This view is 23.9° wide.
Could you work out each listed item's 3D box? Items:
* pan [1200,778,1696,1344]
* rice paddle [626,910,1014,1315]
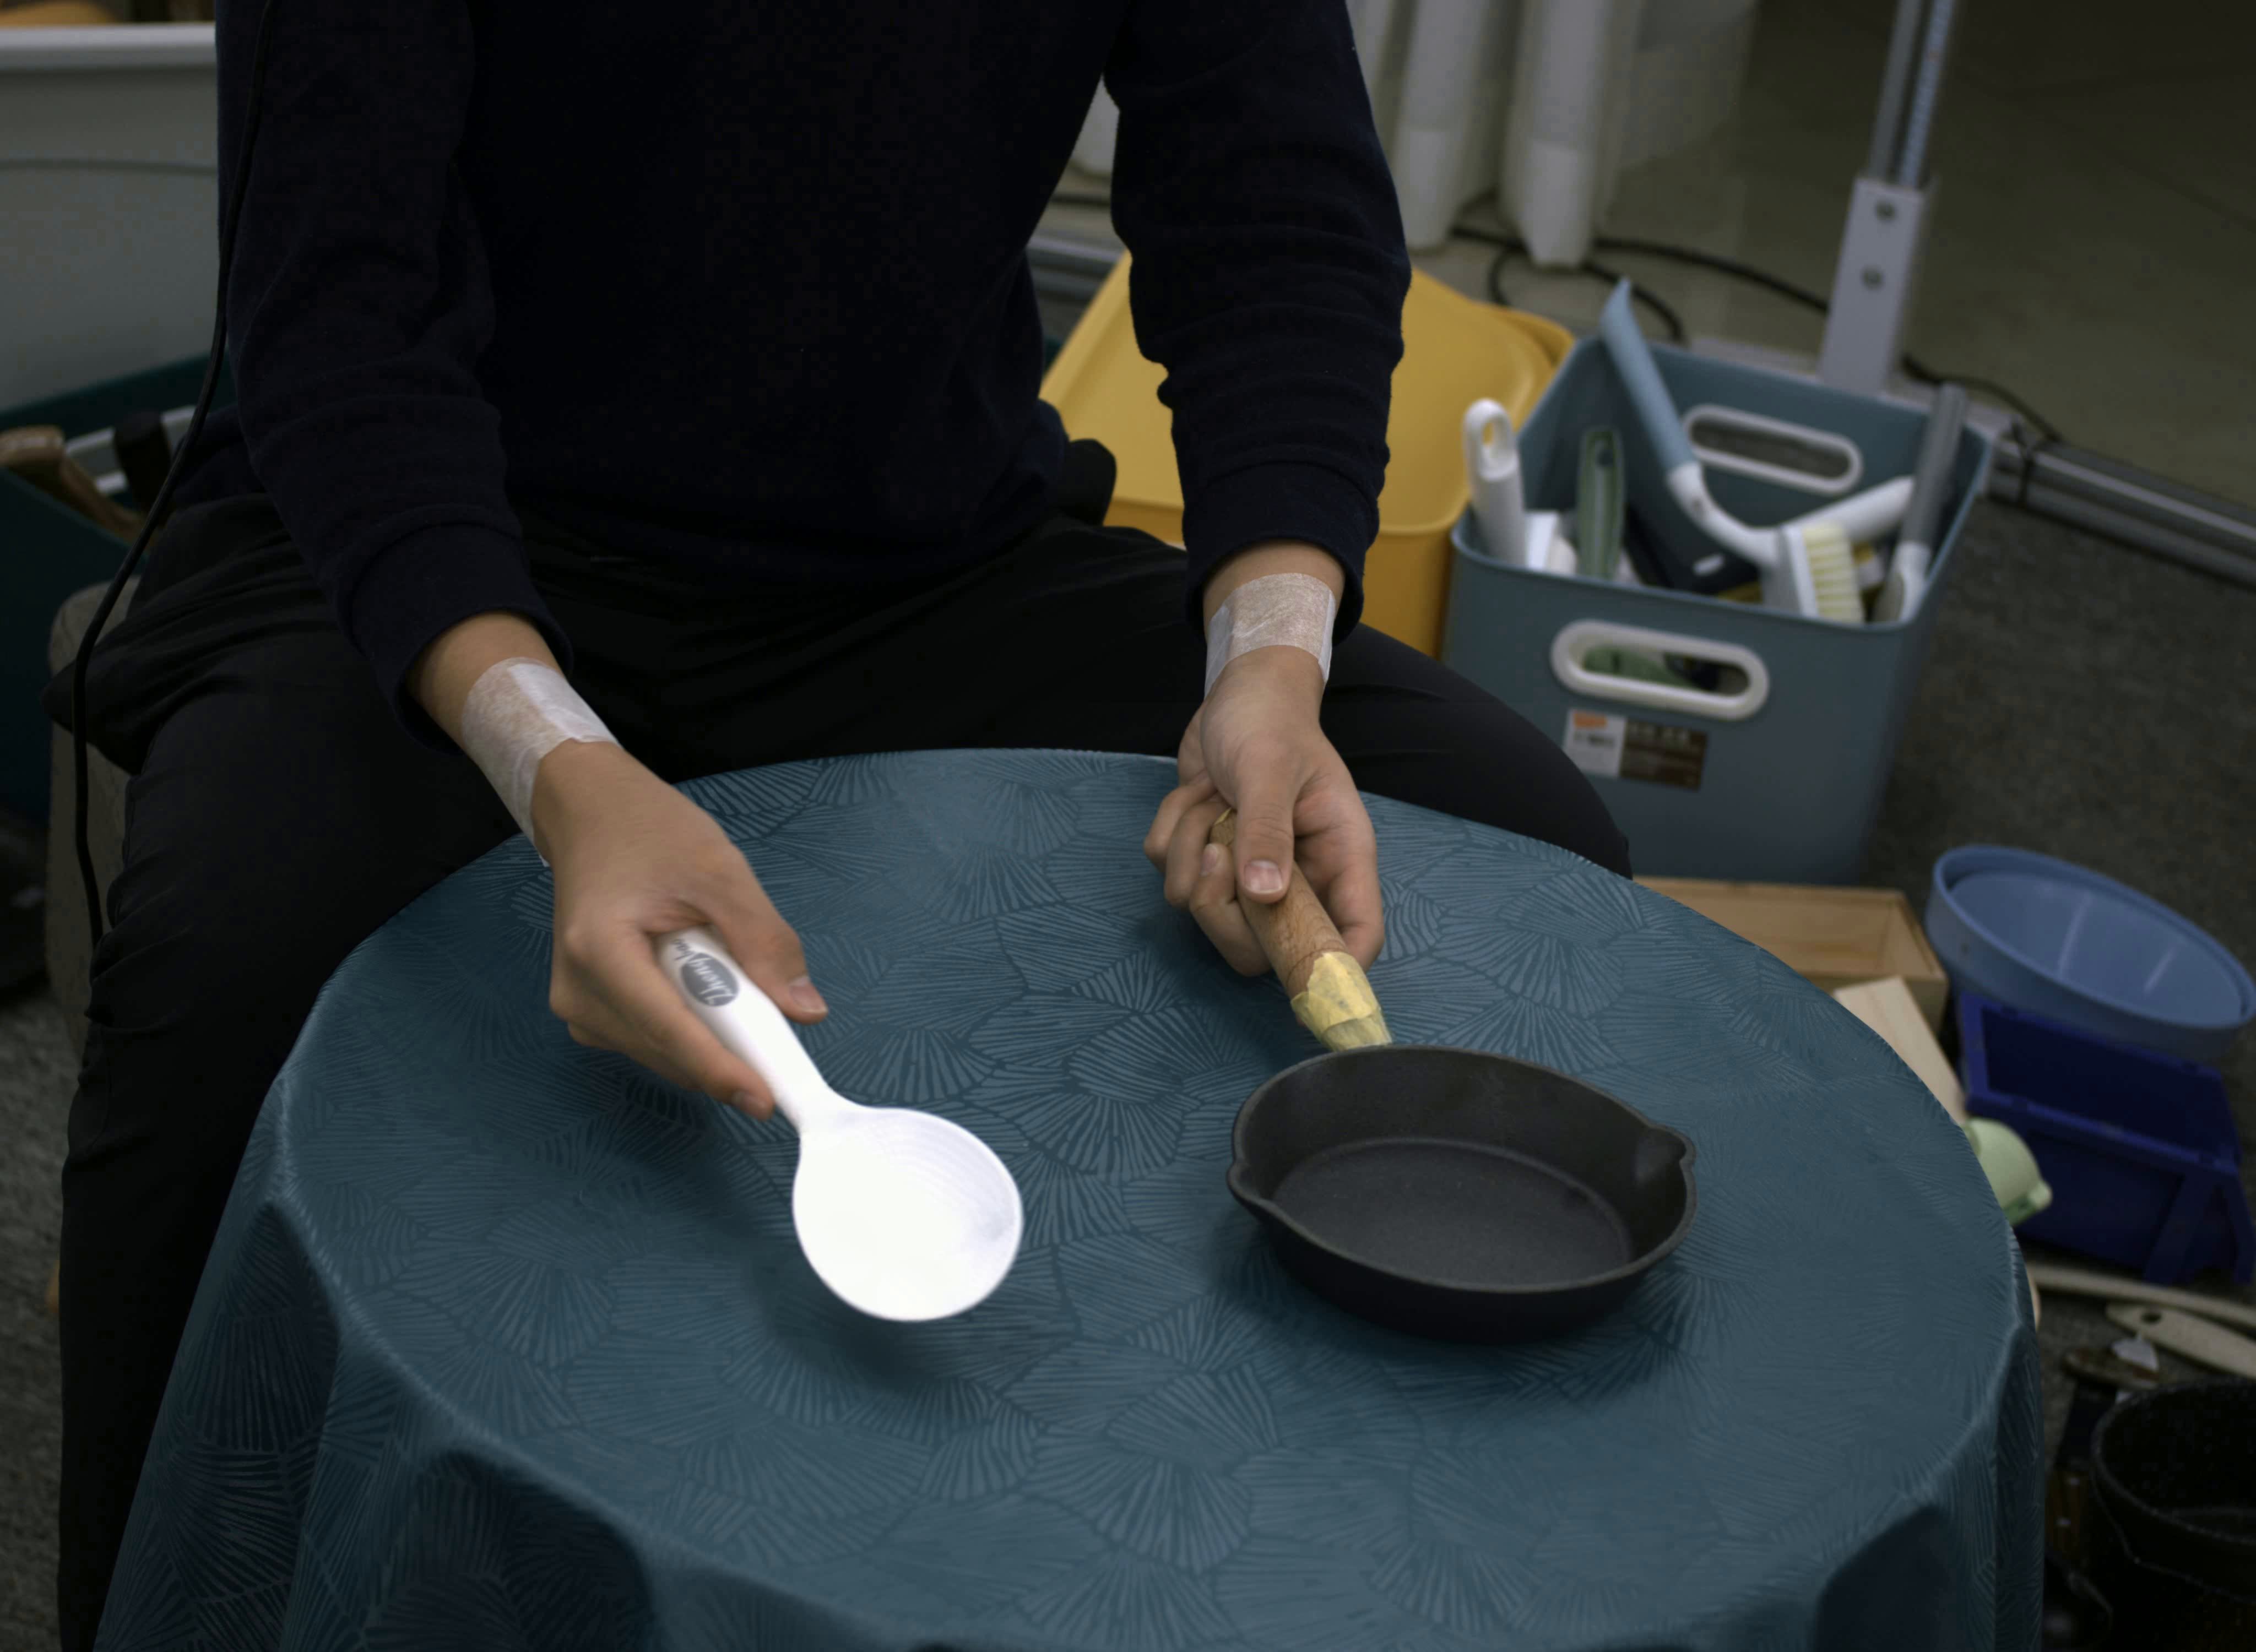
[{"bbox_3d":[0.086,0.079,1.853,0.168,0.049,0.327,-3,30,-18],"label":"pan"},{"bbox_3d":[-0.103,0.092,1.734,0.069,0.029,0.207,-40,46,-6],"label":"rice paddle"}]
